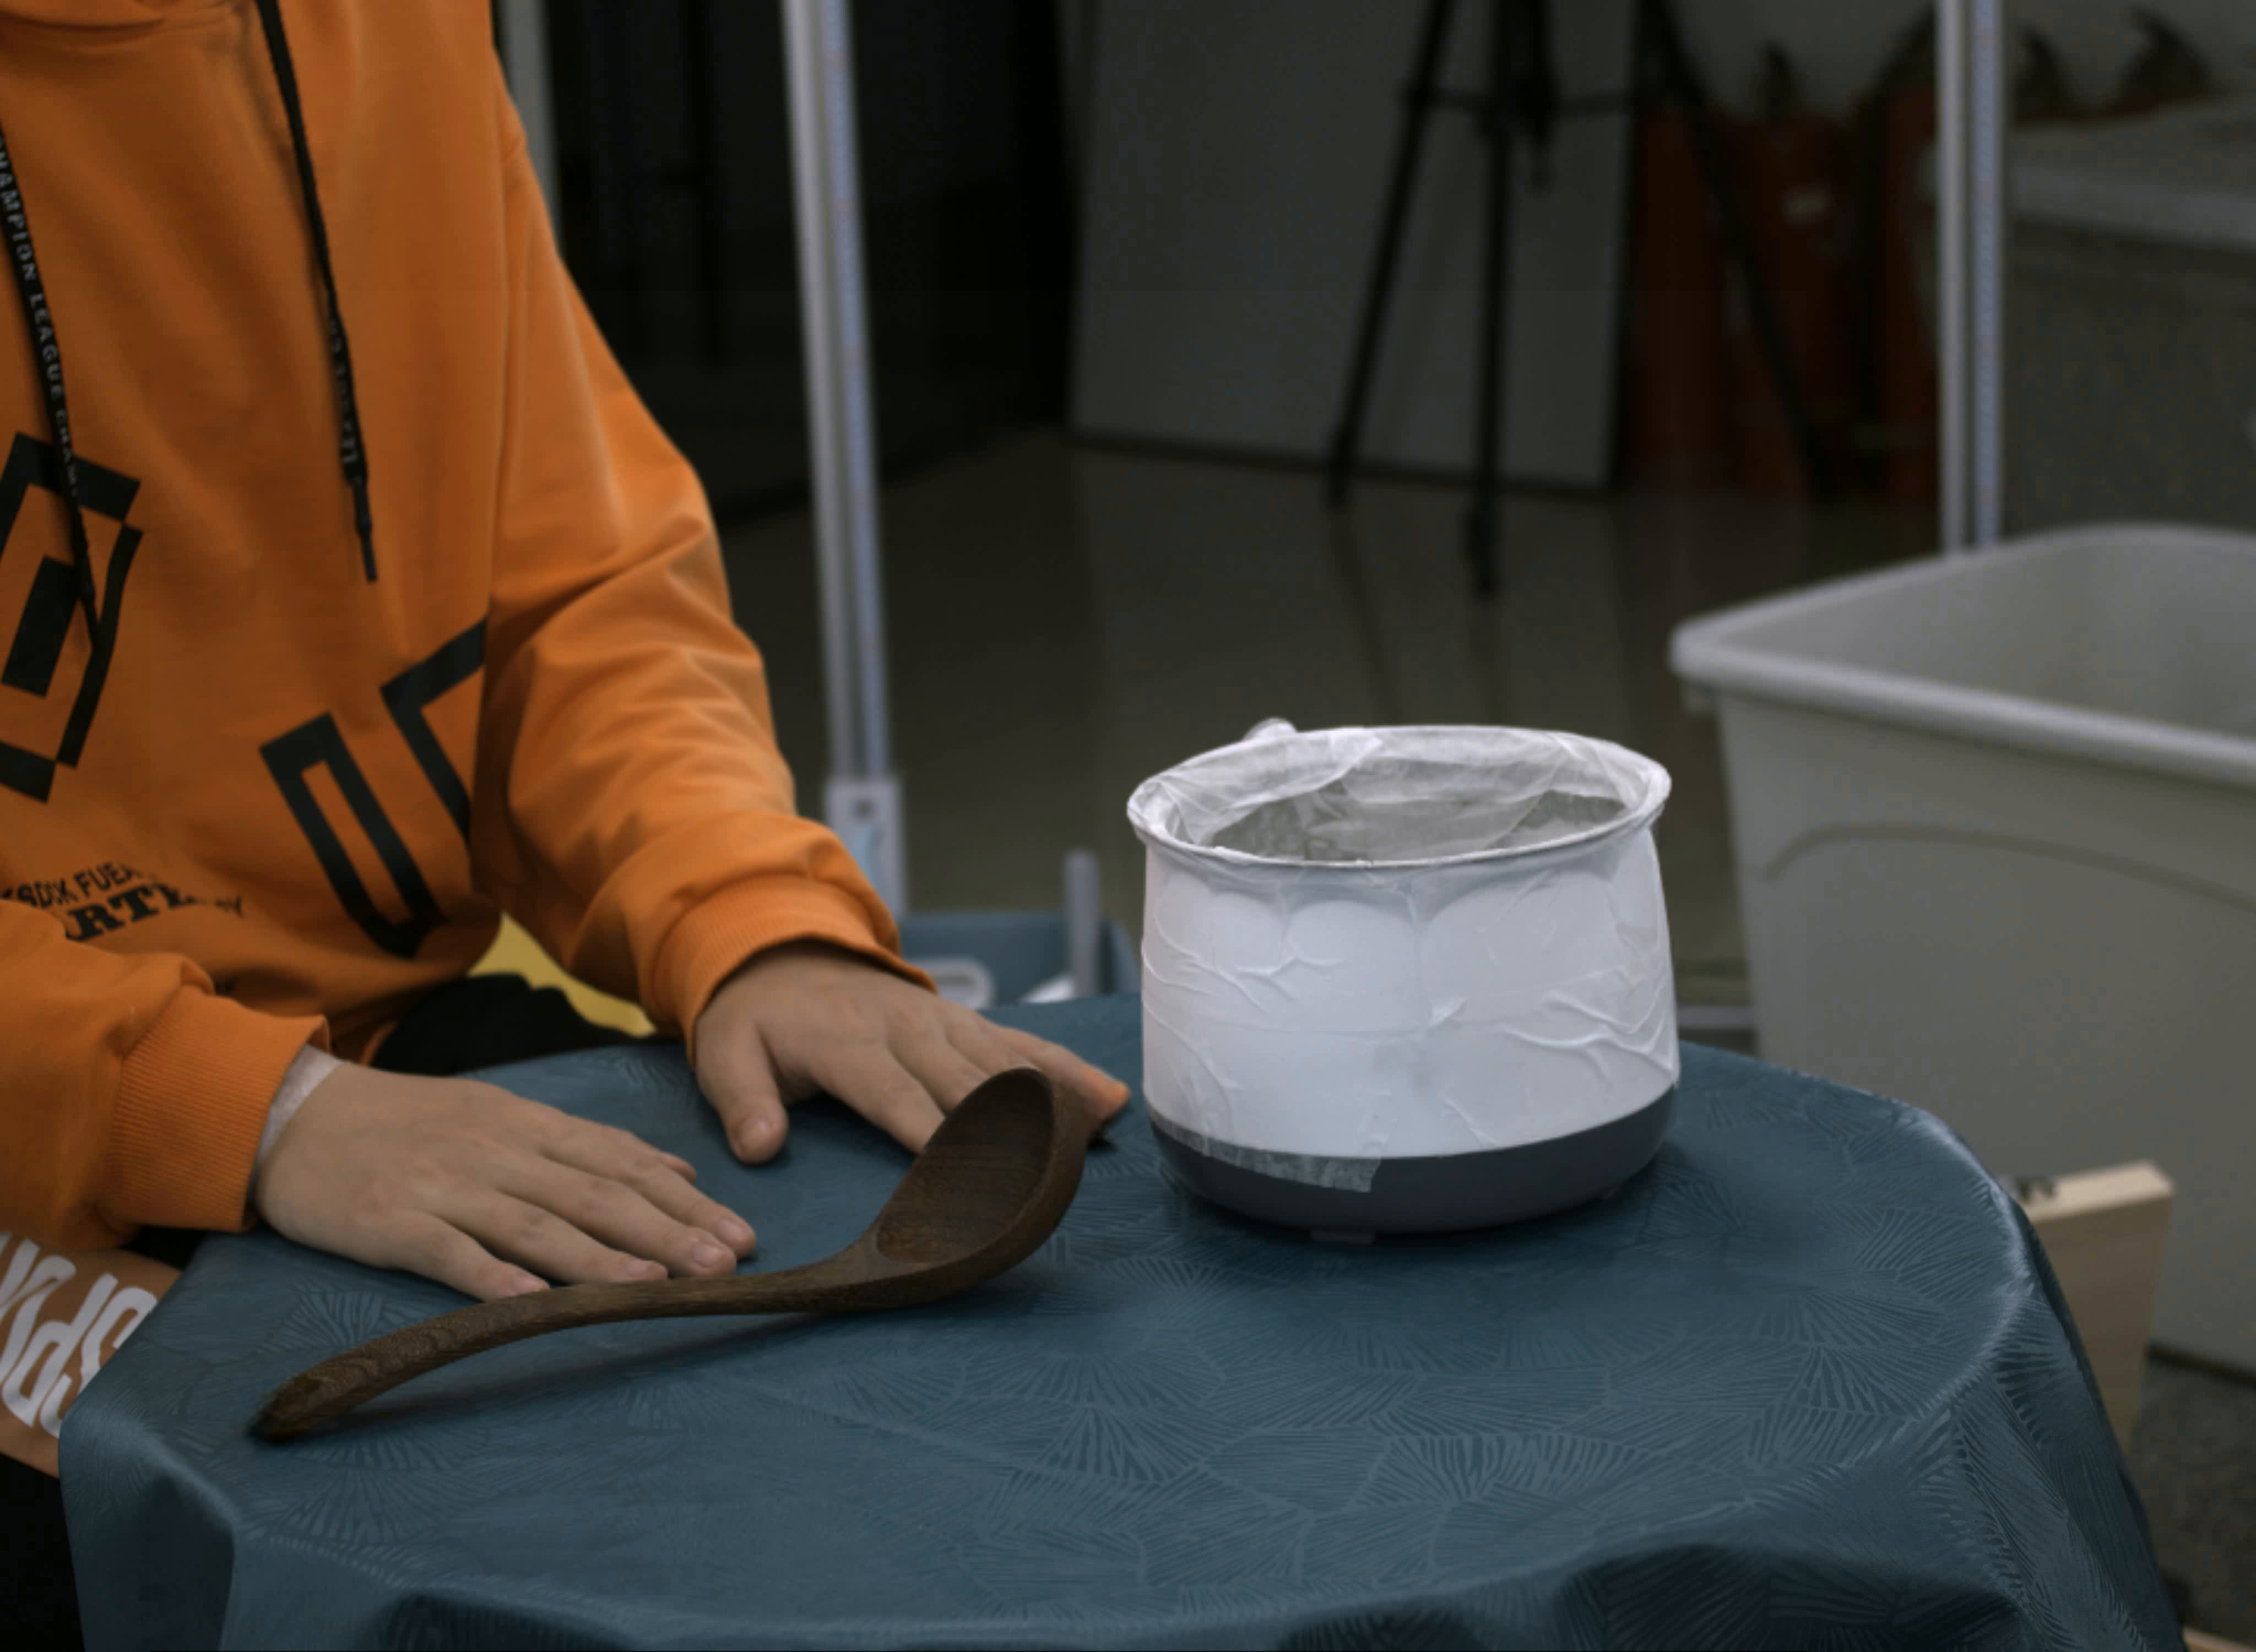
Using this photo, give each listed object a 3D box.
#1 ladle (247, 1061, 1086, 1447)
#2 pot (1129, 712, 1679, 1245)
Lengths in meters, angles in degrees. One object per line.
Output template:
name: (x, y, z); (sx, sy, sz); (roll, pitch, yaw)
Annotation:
ladle: (-0.138, 0.127, 1.641); (0.268, 0.072, 0.077); (-9, 12, -23)
pot: (0.079, 0.043, 1.773); (0.175, 0.138, 0.236); (-9, 15, -22)
